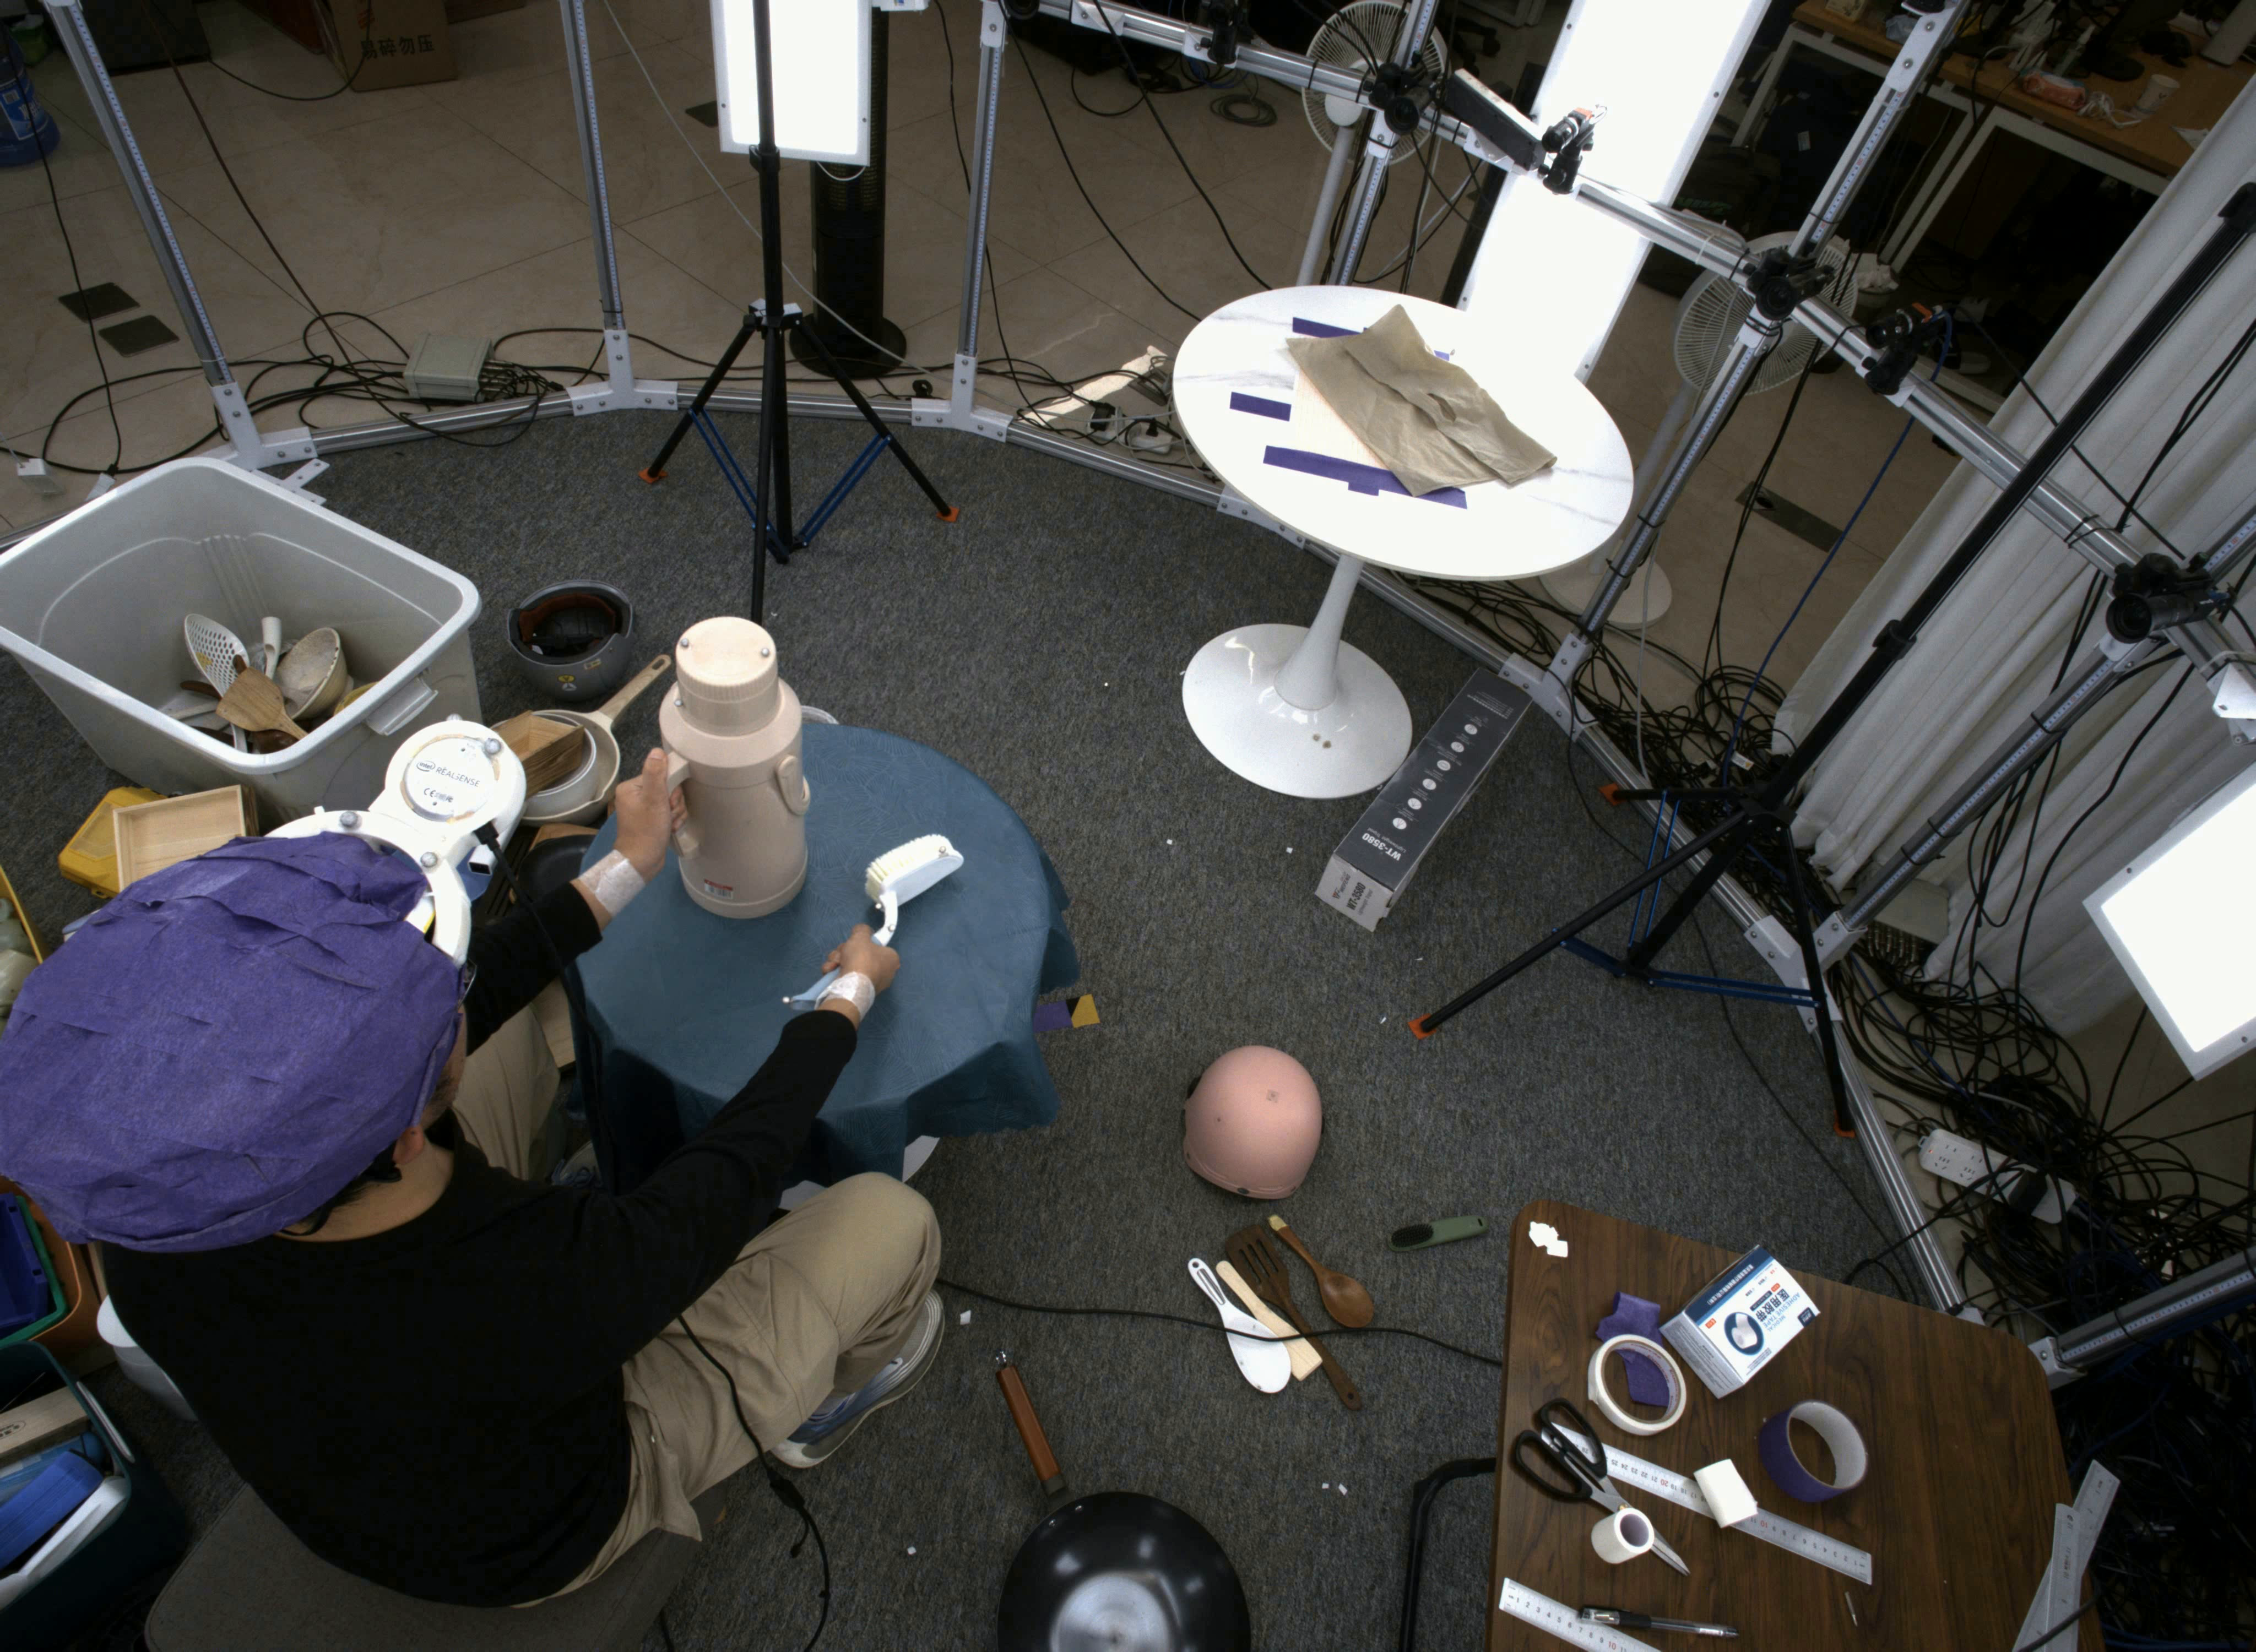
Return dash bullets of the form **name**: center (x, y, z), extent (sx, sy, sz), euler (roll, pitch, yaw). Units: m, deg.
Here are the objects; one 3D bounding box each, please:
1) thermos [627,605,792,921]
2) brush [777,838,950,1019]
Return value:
- **thermos**: center (-0.488, -0.061, 1.491), extent (0.172, 0.414, 0.206), euler (32, 52, 12)
- **brush**: center (-0.339, 0.107, 1.583), extent (0.082, 0.086, 0.325), euler (1, 33, 36)
